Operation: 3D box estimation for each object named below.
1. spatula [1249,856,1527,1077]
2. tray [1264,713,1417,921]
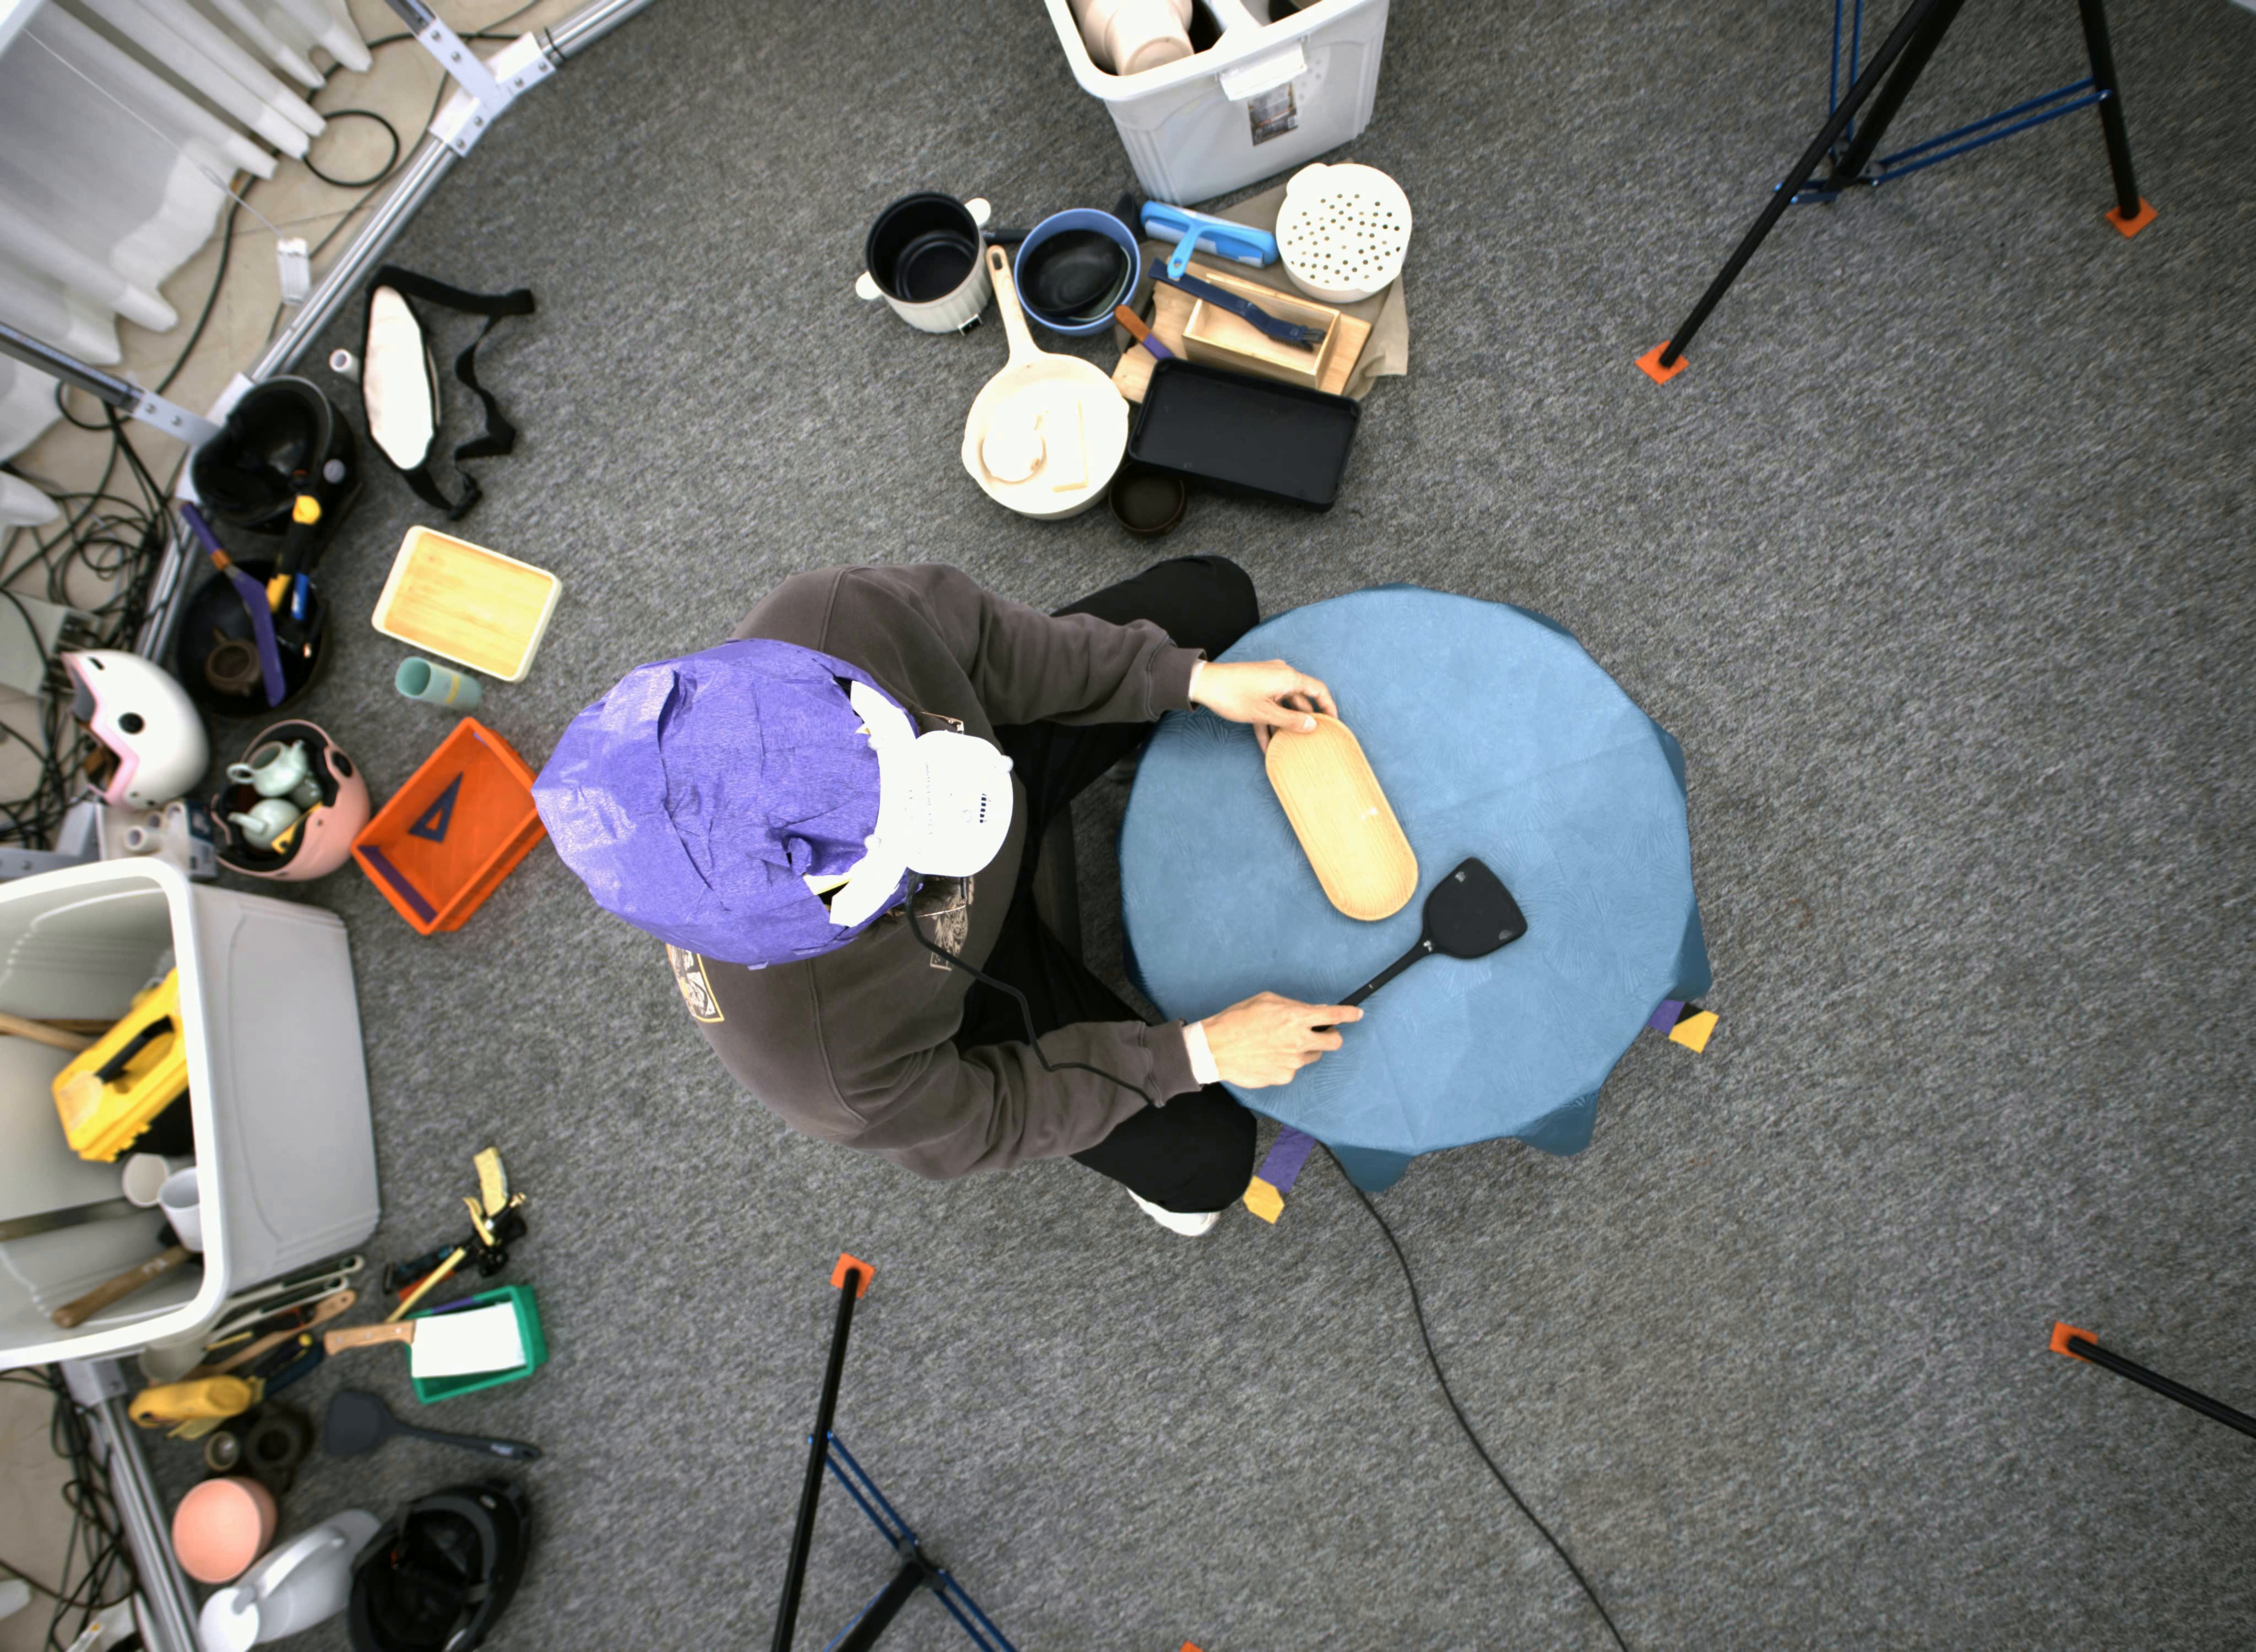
[{"bbox_3d":[0.257,0.157,1.420,0.325,0.040,0.099,-35,83,-6],"label":"spatula"},{"bbox_3d":[0.223,-0.011,1.452,0.102,0.020,0.231,-26,90,8],"label":"tray"}]
